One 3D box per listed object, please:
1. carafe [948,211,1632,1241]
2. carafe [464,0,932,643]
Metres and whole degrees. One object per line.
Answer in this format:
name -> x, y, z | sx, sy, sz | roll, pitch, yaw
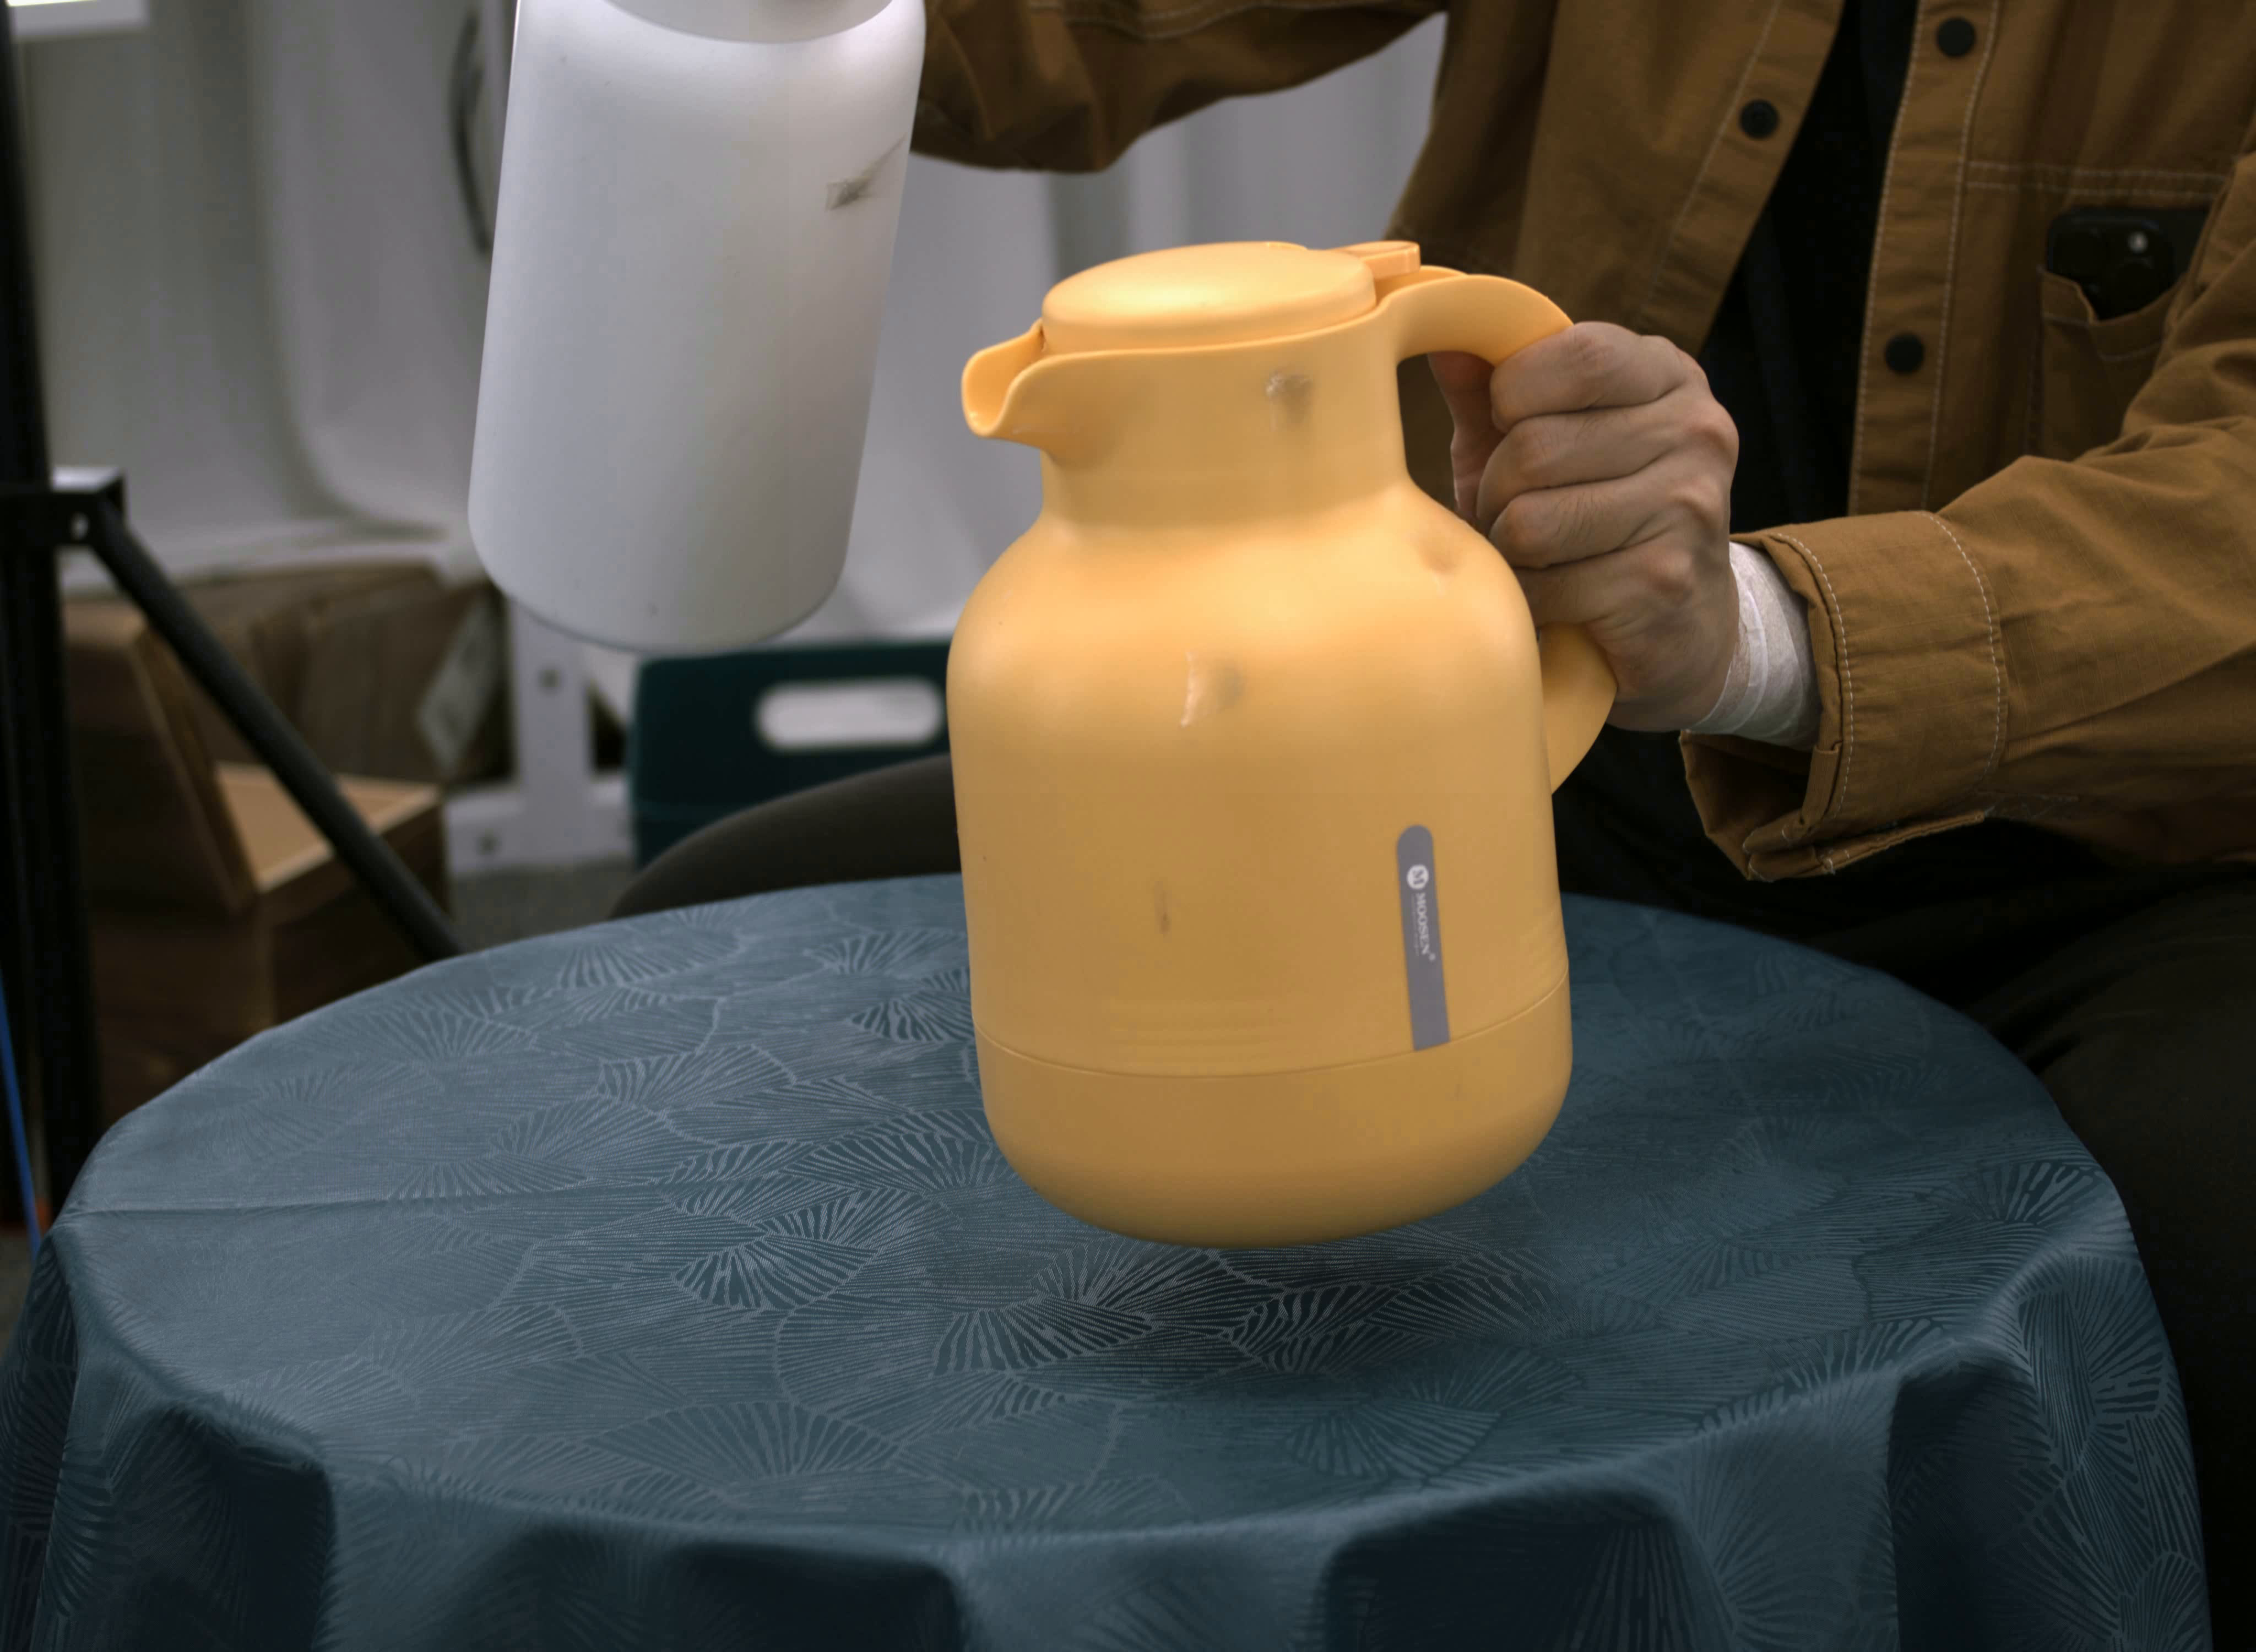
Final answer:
carafe -> 0.051, -0.033, 1.431 | 0.198, 0.260, 0.167 | -15, 20, -25
carafe -> -0.134, -0.200, 1.576 | 0.121, 0.268, 0.176 | -13, 45, -25
